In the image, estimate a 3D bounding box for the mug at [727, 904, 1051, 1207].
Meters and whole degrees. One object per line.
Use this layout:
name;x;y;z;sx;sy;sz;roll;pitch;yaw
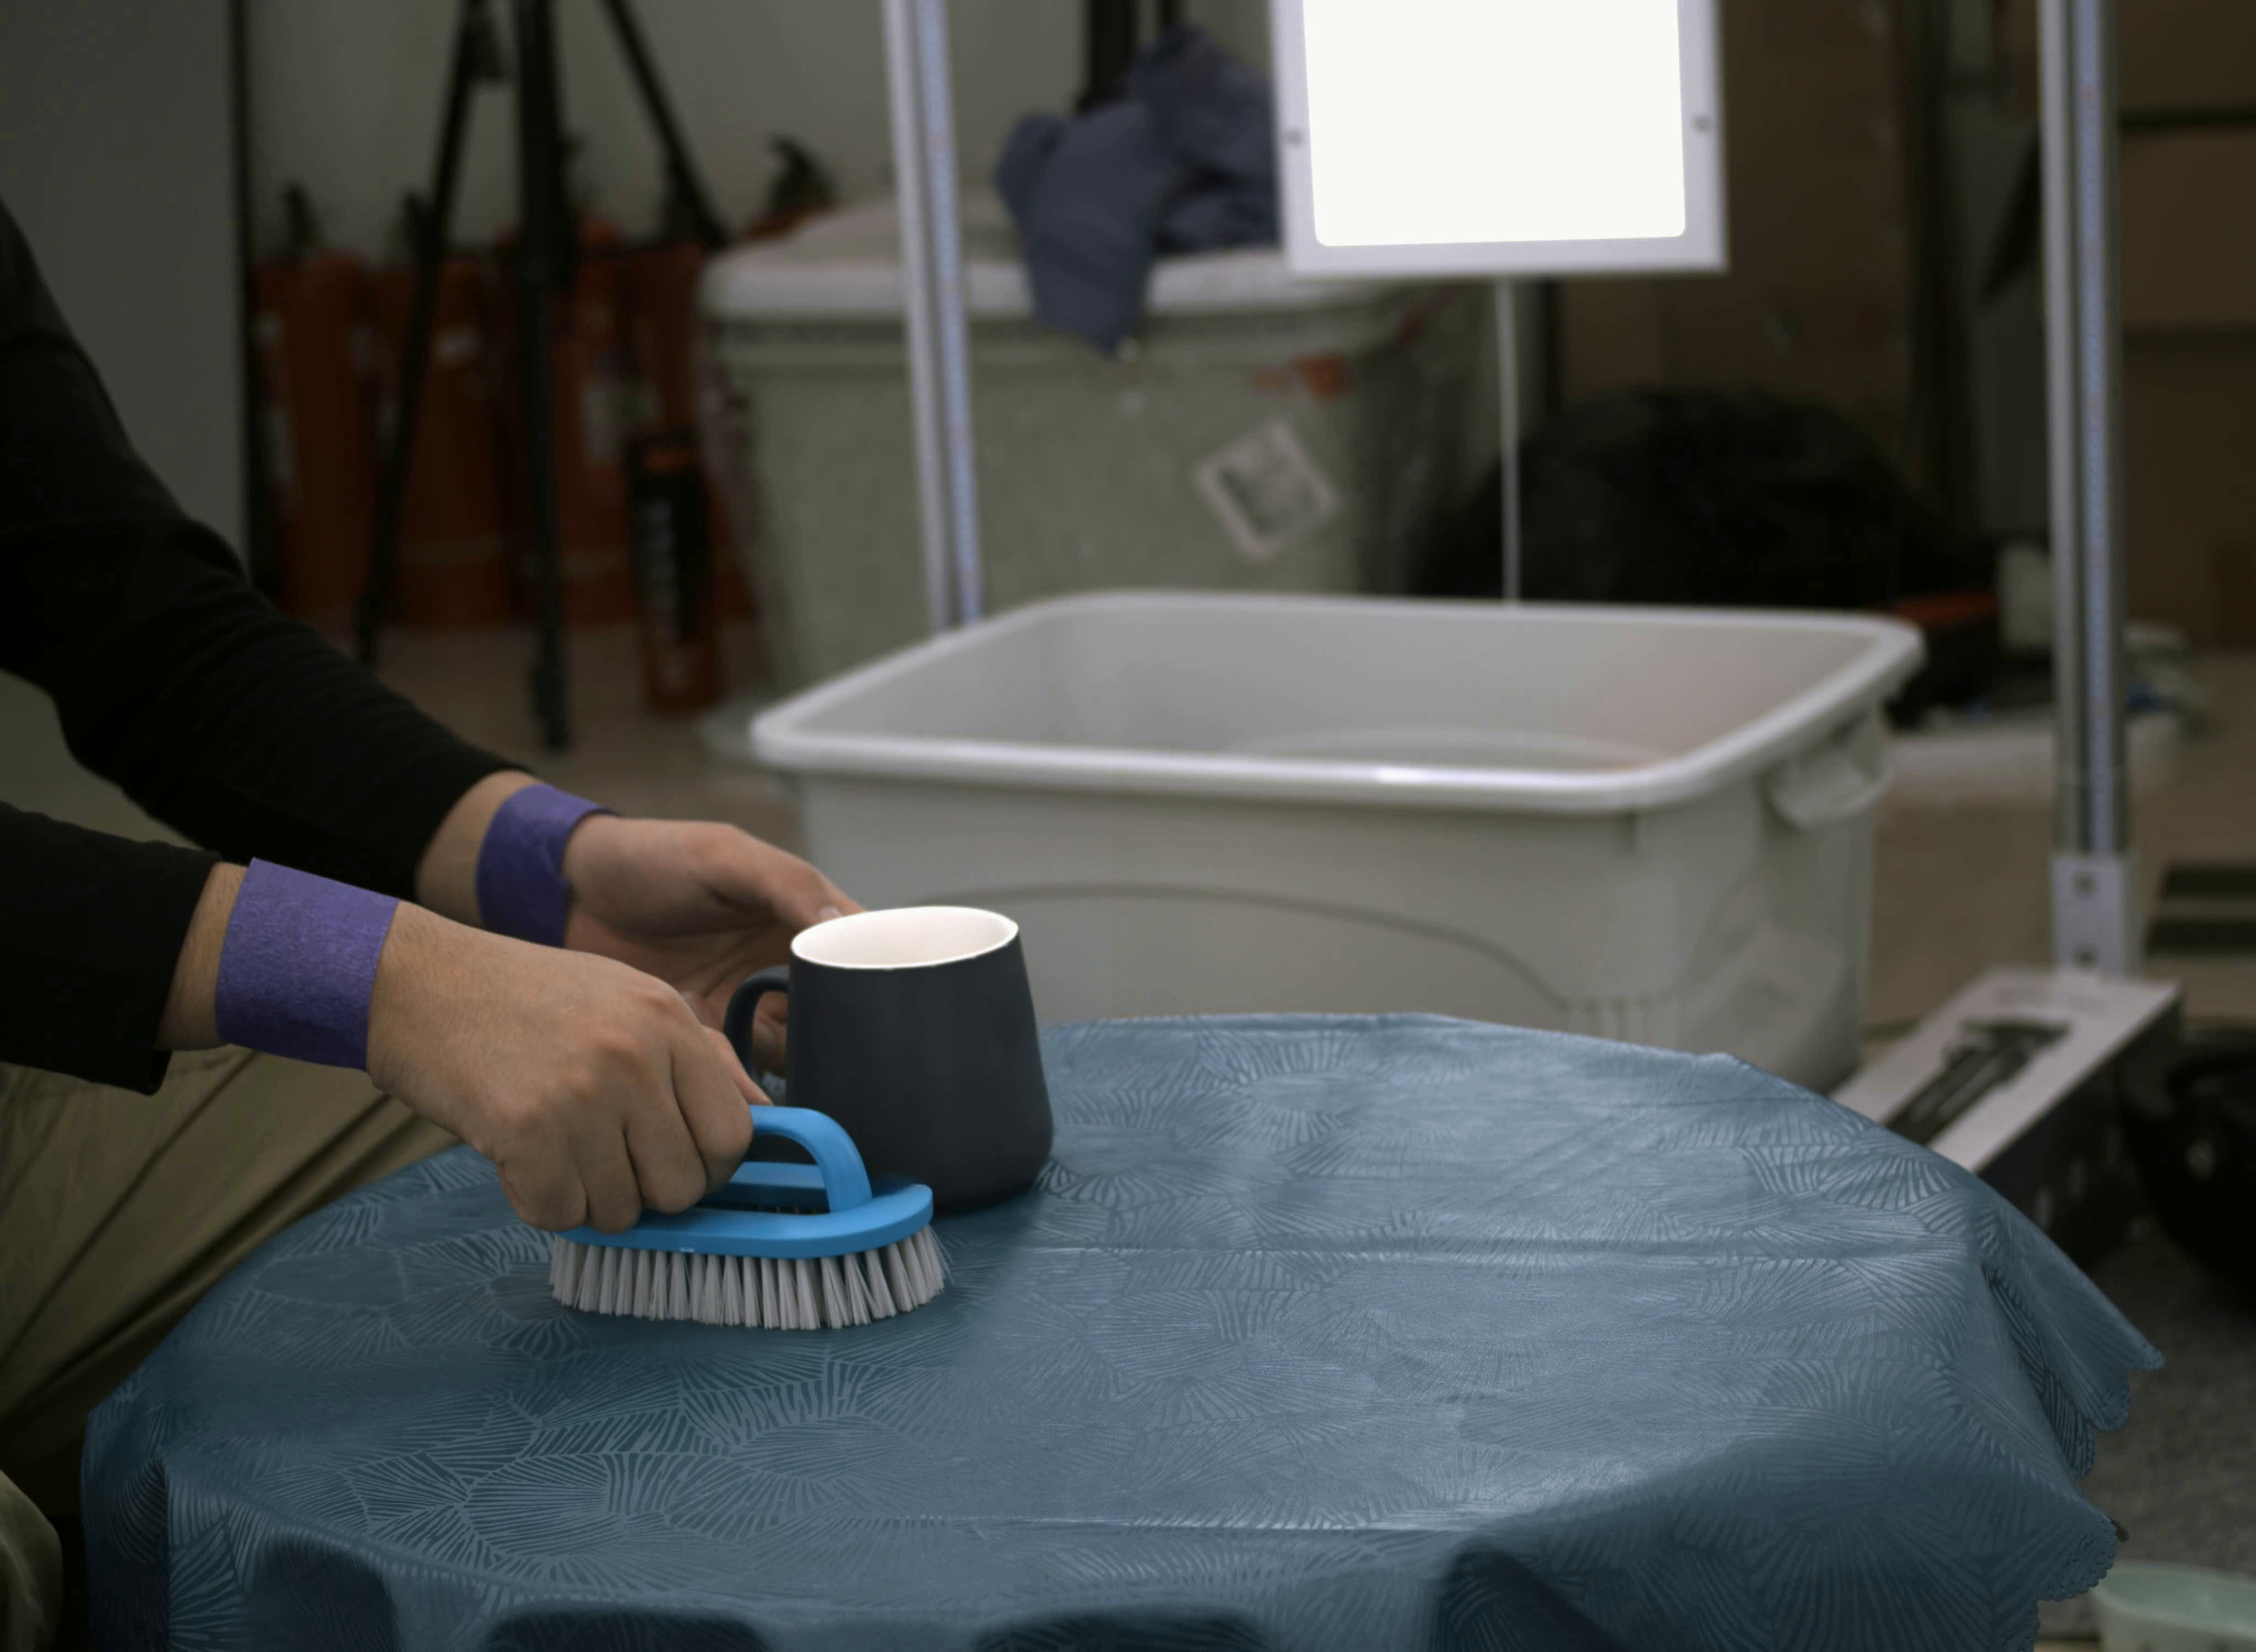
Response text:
mug;-0.087;0.078;1.925;0.125;0.090;0.091;6;17;32

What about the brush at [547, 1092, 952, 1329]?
brush;-0.130;0.120;1.828;0.144;0.064;0.082;2;20;28
